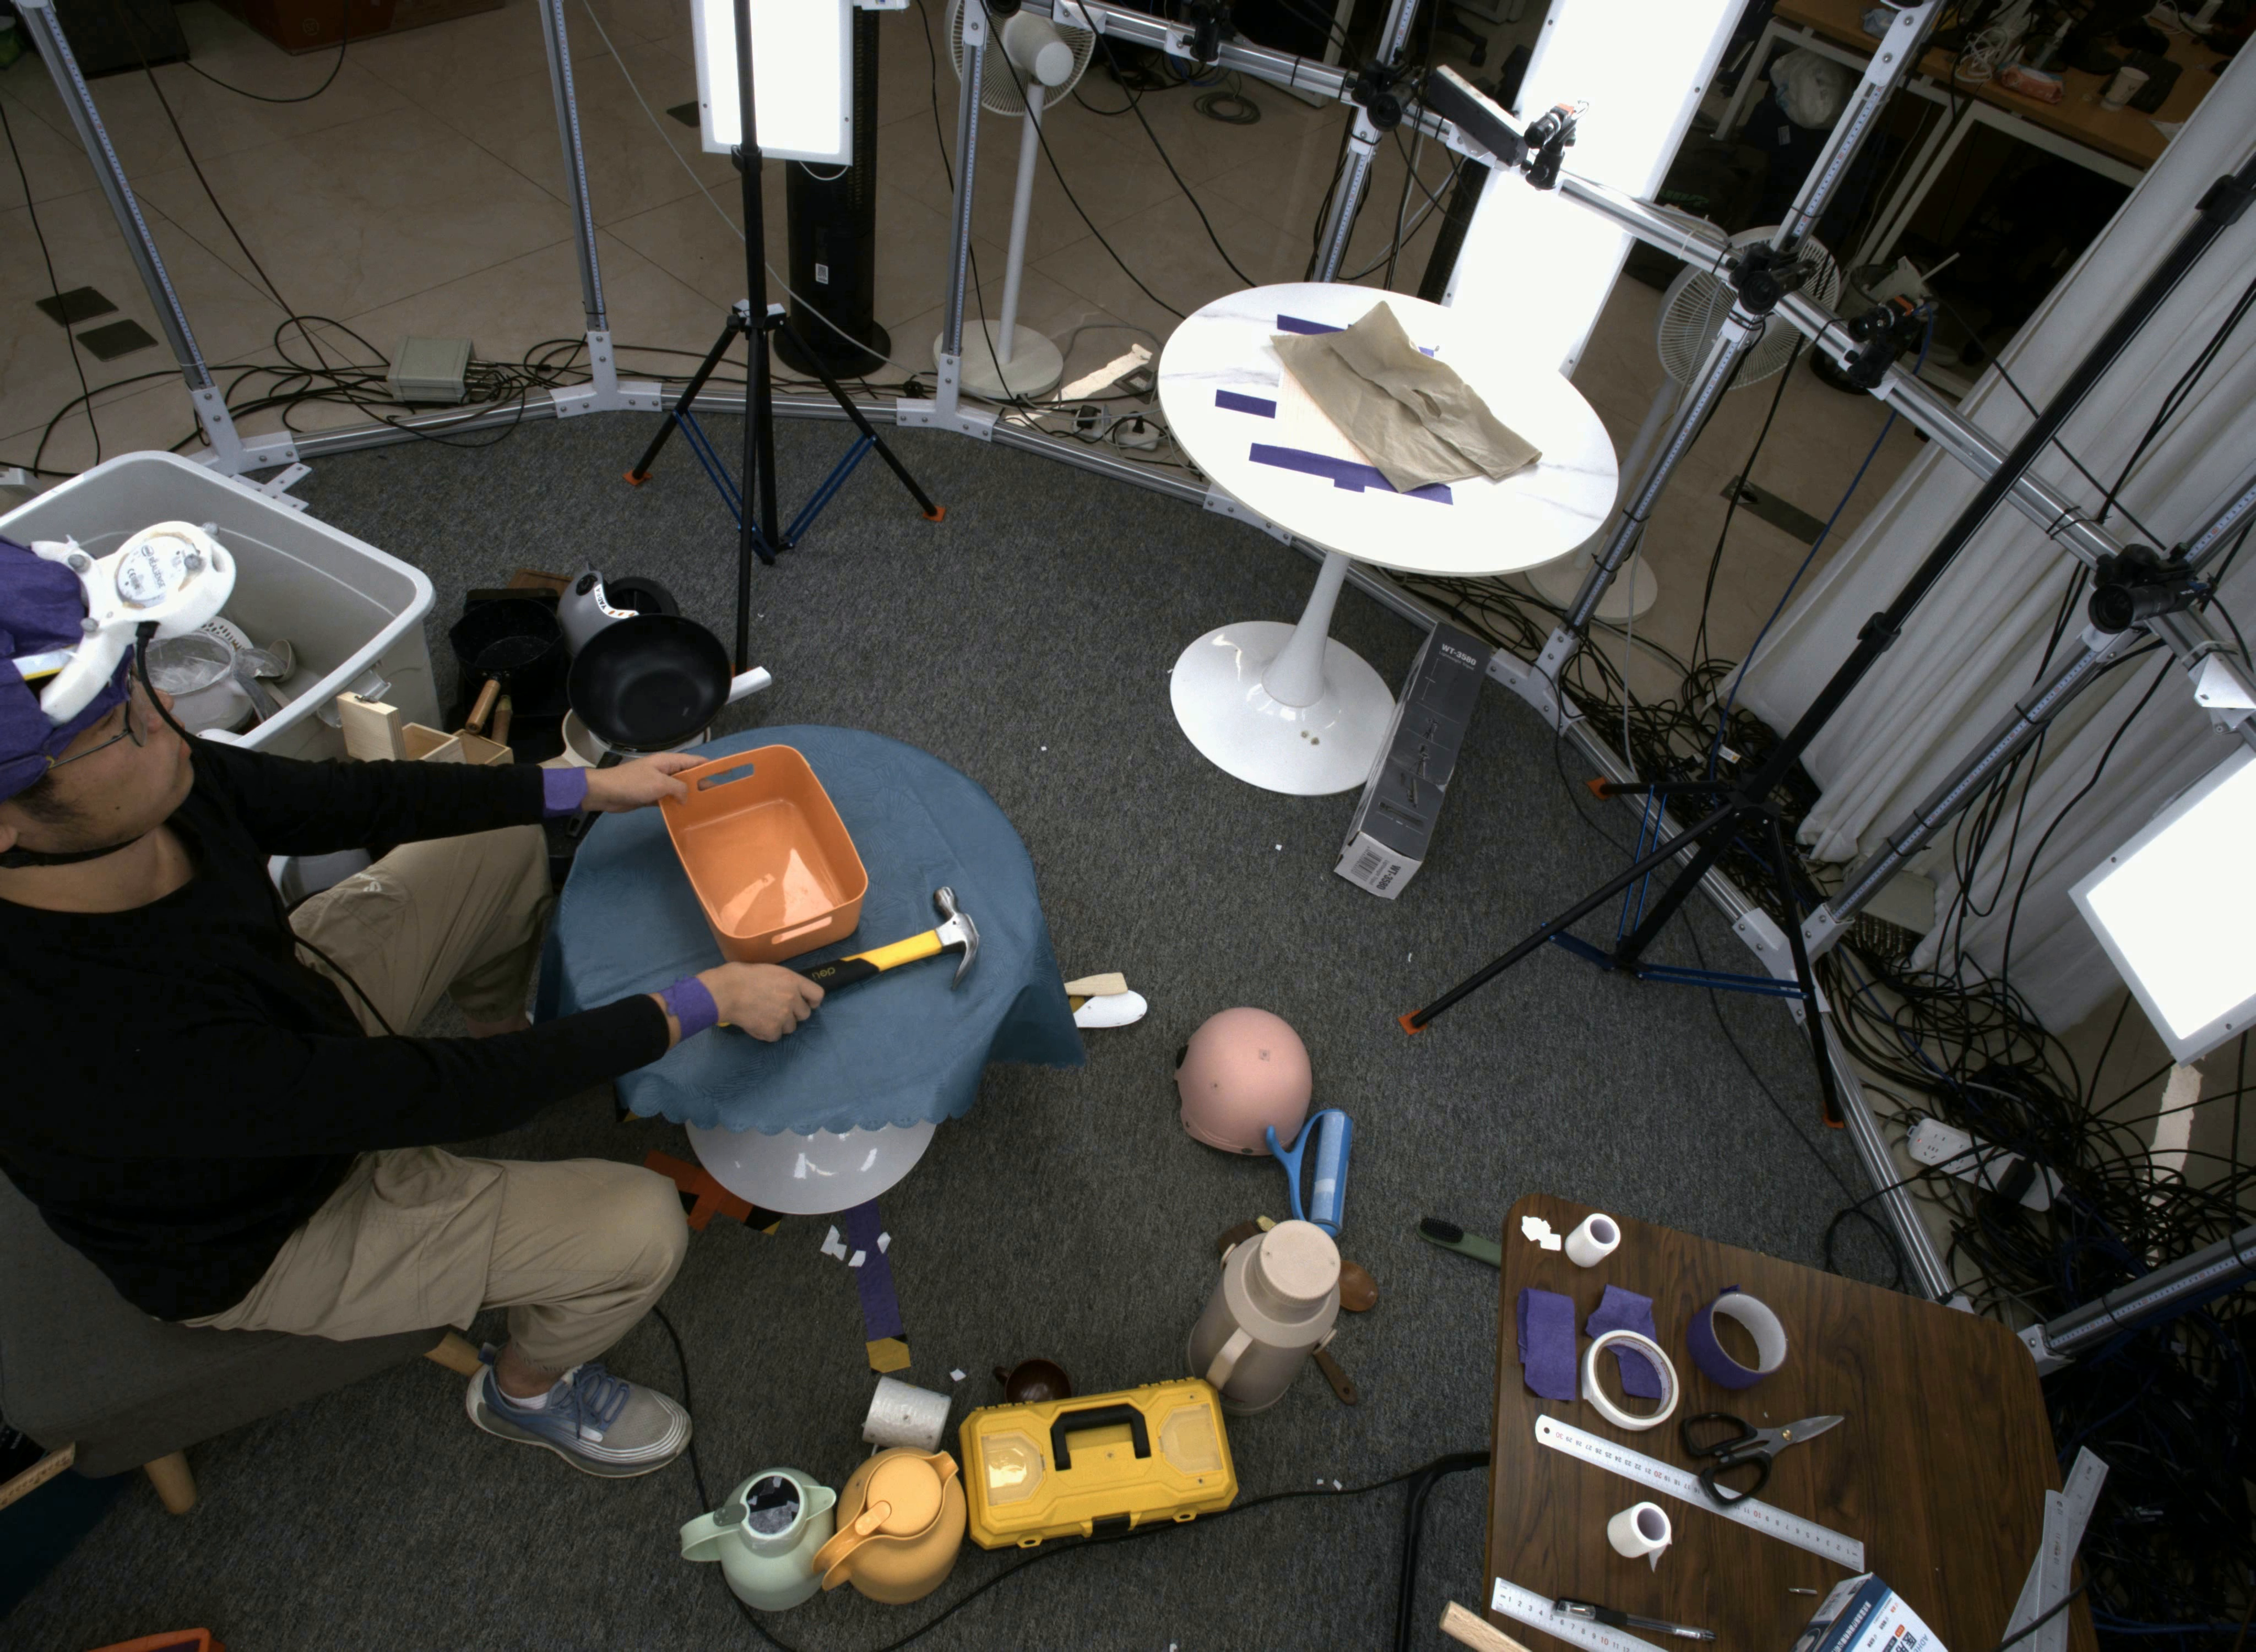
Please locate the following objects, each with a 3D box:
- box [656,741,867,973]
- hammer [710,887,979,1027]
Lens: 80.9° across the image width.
[{"bbox_3d":[-0.457,0.041,1.616,0.200,0.105,0.266,-21,61,-26],"label":"box"},{"bbox_3d":[-0.341,0.172,1.587,0.340,0.033,0.128,-16,59,-27],"label":"hammer"}]
